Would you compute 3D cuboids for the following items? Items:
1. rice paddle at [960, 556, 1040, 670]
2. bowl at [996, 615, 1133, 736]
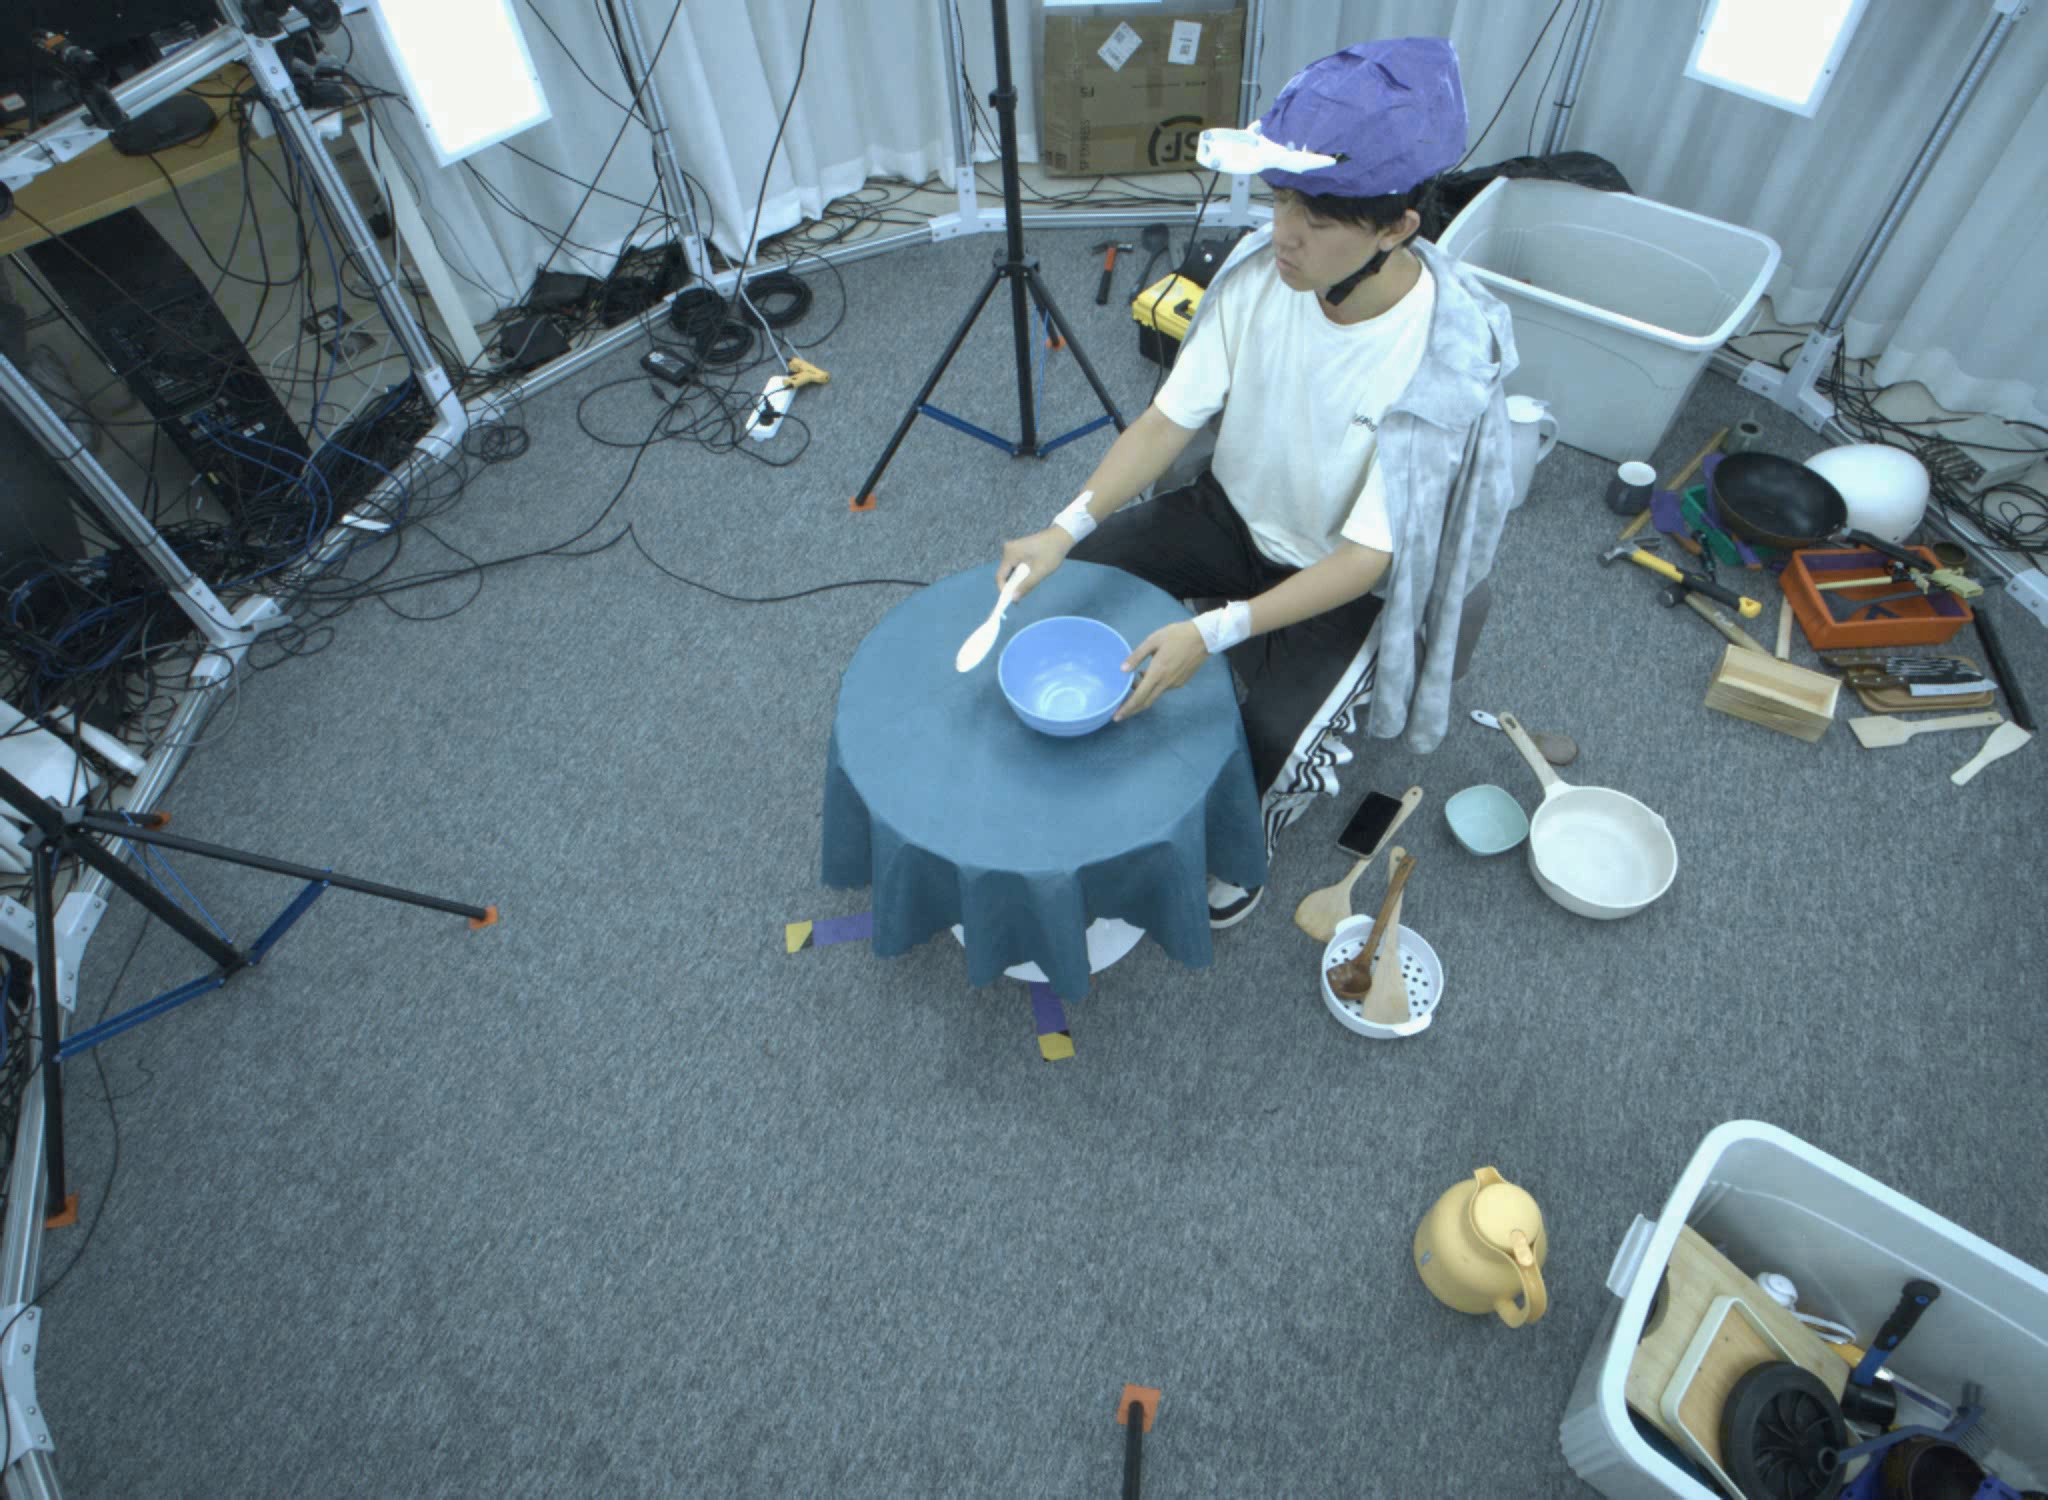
[{"bbox_3d":[-0.037,-0.199,1.797,0.067,0.030,0.205,0,54,51],"label":"rice paddle"},{"bbox_3d":[0.061,-0.094,1.793,0.196,0.096,0.194,-2,55,4],"label":"bowl"}]
